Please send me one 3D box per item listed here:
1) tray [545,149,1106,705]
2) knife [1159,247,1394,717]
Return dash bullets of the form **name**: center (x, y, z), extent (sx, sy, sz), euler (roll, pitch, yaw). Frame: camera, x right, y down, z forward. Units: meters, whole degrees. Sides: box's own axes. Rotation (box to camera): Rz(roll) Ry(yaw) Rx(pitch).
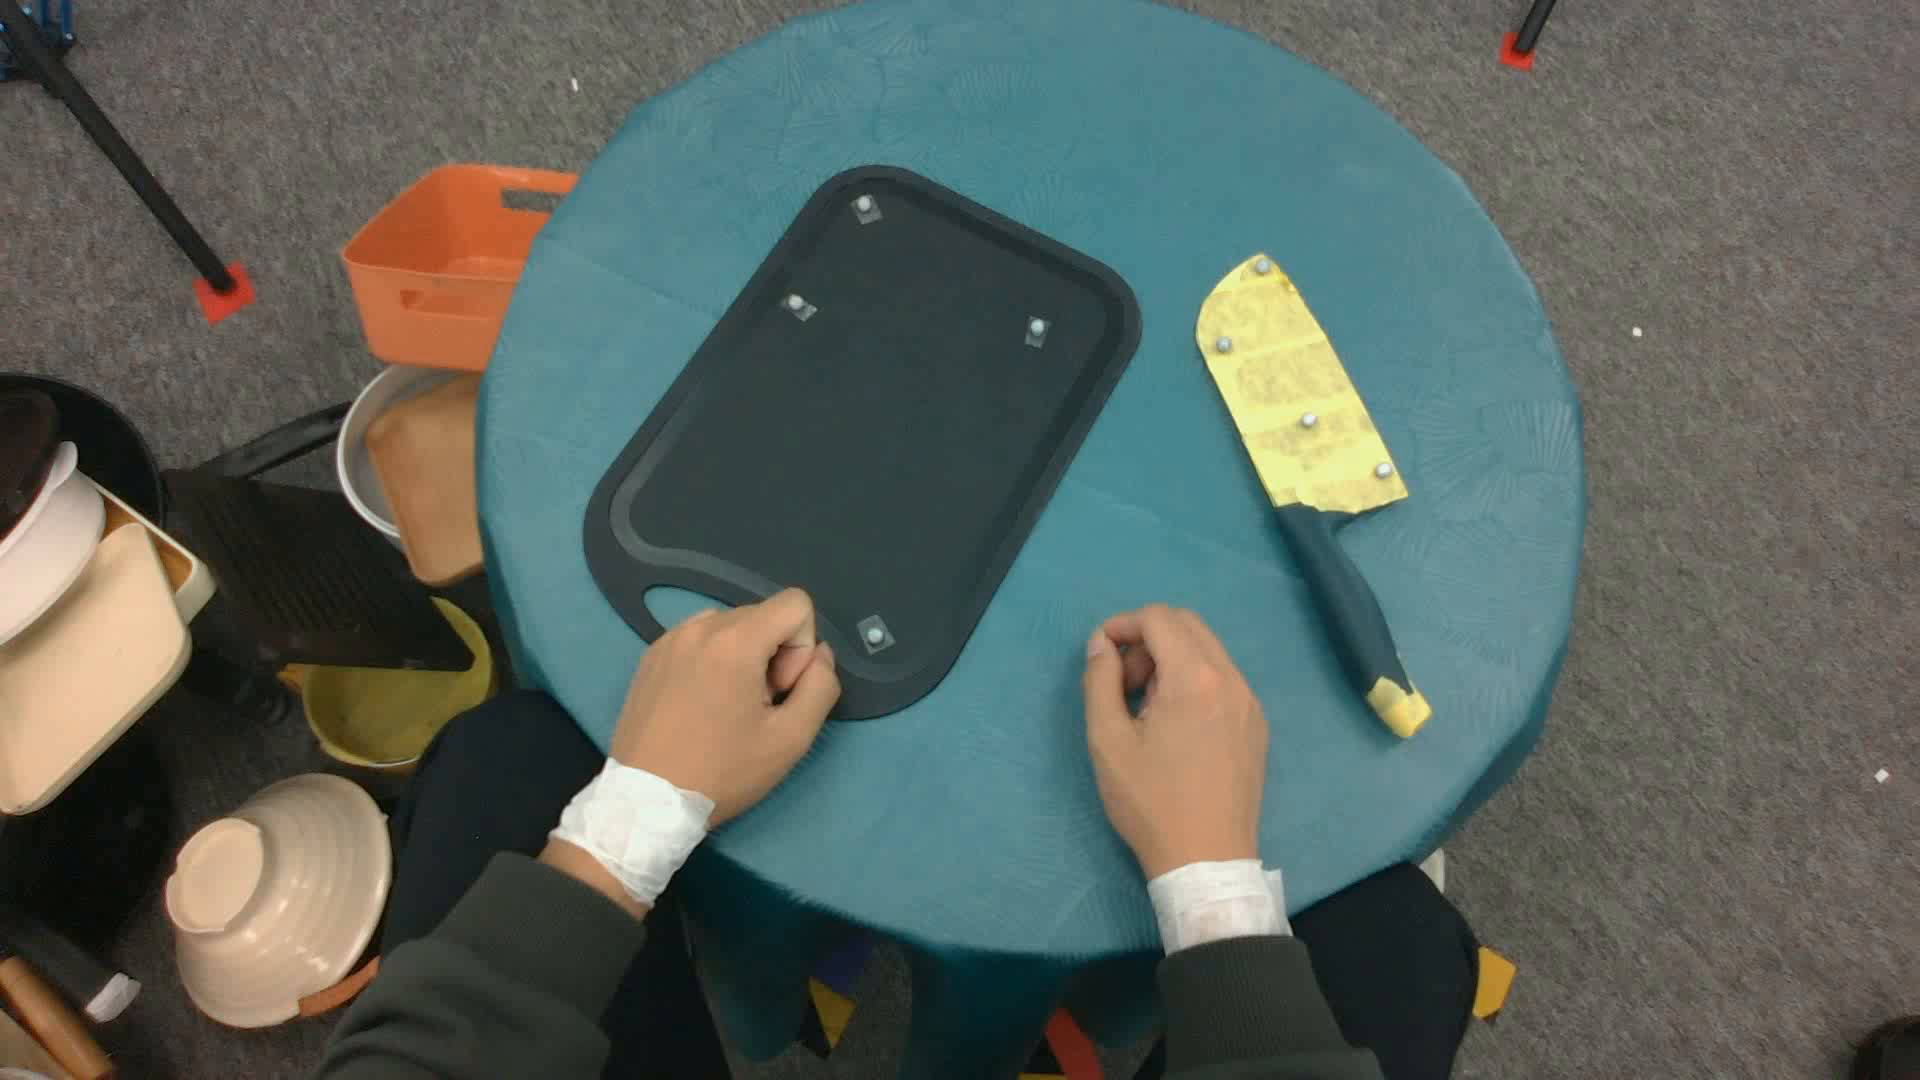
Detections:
- **tray**: center (-0.068, -0.069, 0.737), extent (0.211, 0.010, 0.326), euler (28, 67, 7)
- **knife**: center (0.178, -0.043, 0.743), extent (0.081, 0.027, 0.290), euler (-13, 67, -9)
